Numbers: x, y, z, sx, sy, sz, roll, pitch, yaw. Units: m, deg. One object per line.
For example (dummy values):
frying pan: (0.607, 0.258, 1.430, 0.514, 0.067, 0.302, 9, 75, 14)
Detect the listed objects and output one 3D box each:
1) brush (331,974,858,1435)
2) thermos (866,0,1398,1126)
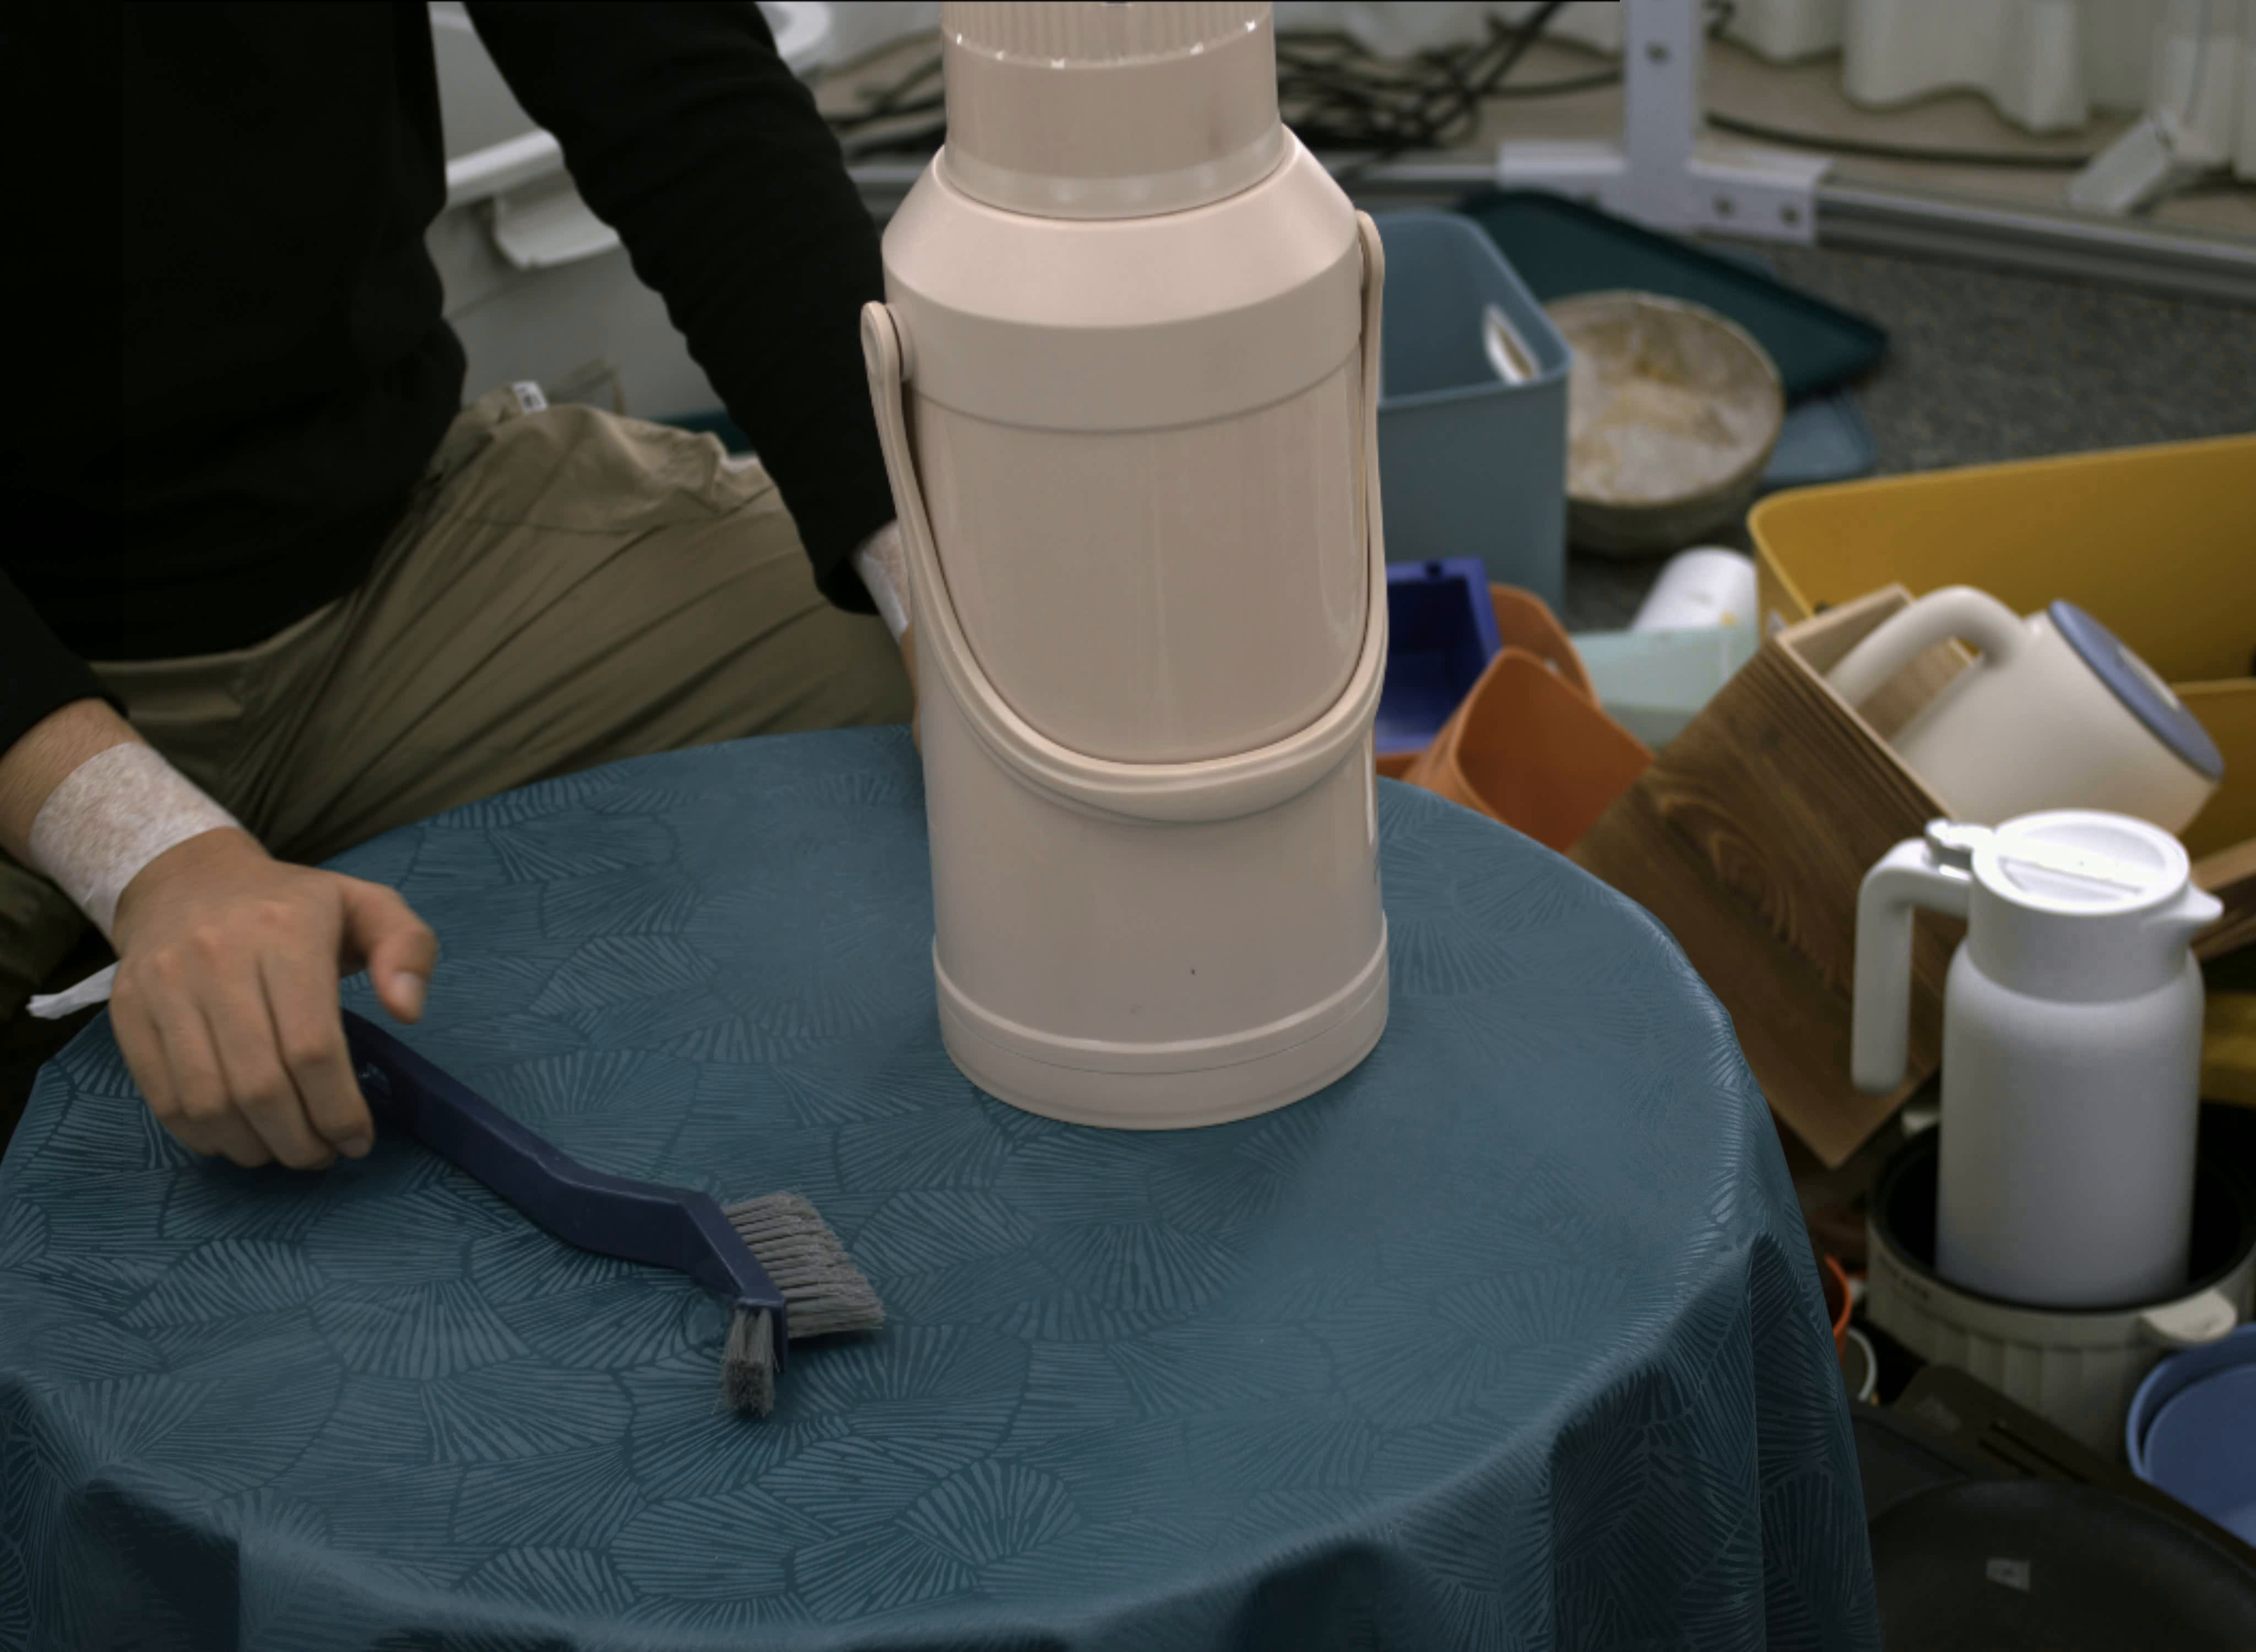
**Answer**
brush: (-0.194, 0.120, 1.847, 0.273, 0.033, 0.097, 23, 36, 37)
thermos: (0.001, -0.116, 1.894, 0.176, 0.402, 0.208, -14, 28, -17)
